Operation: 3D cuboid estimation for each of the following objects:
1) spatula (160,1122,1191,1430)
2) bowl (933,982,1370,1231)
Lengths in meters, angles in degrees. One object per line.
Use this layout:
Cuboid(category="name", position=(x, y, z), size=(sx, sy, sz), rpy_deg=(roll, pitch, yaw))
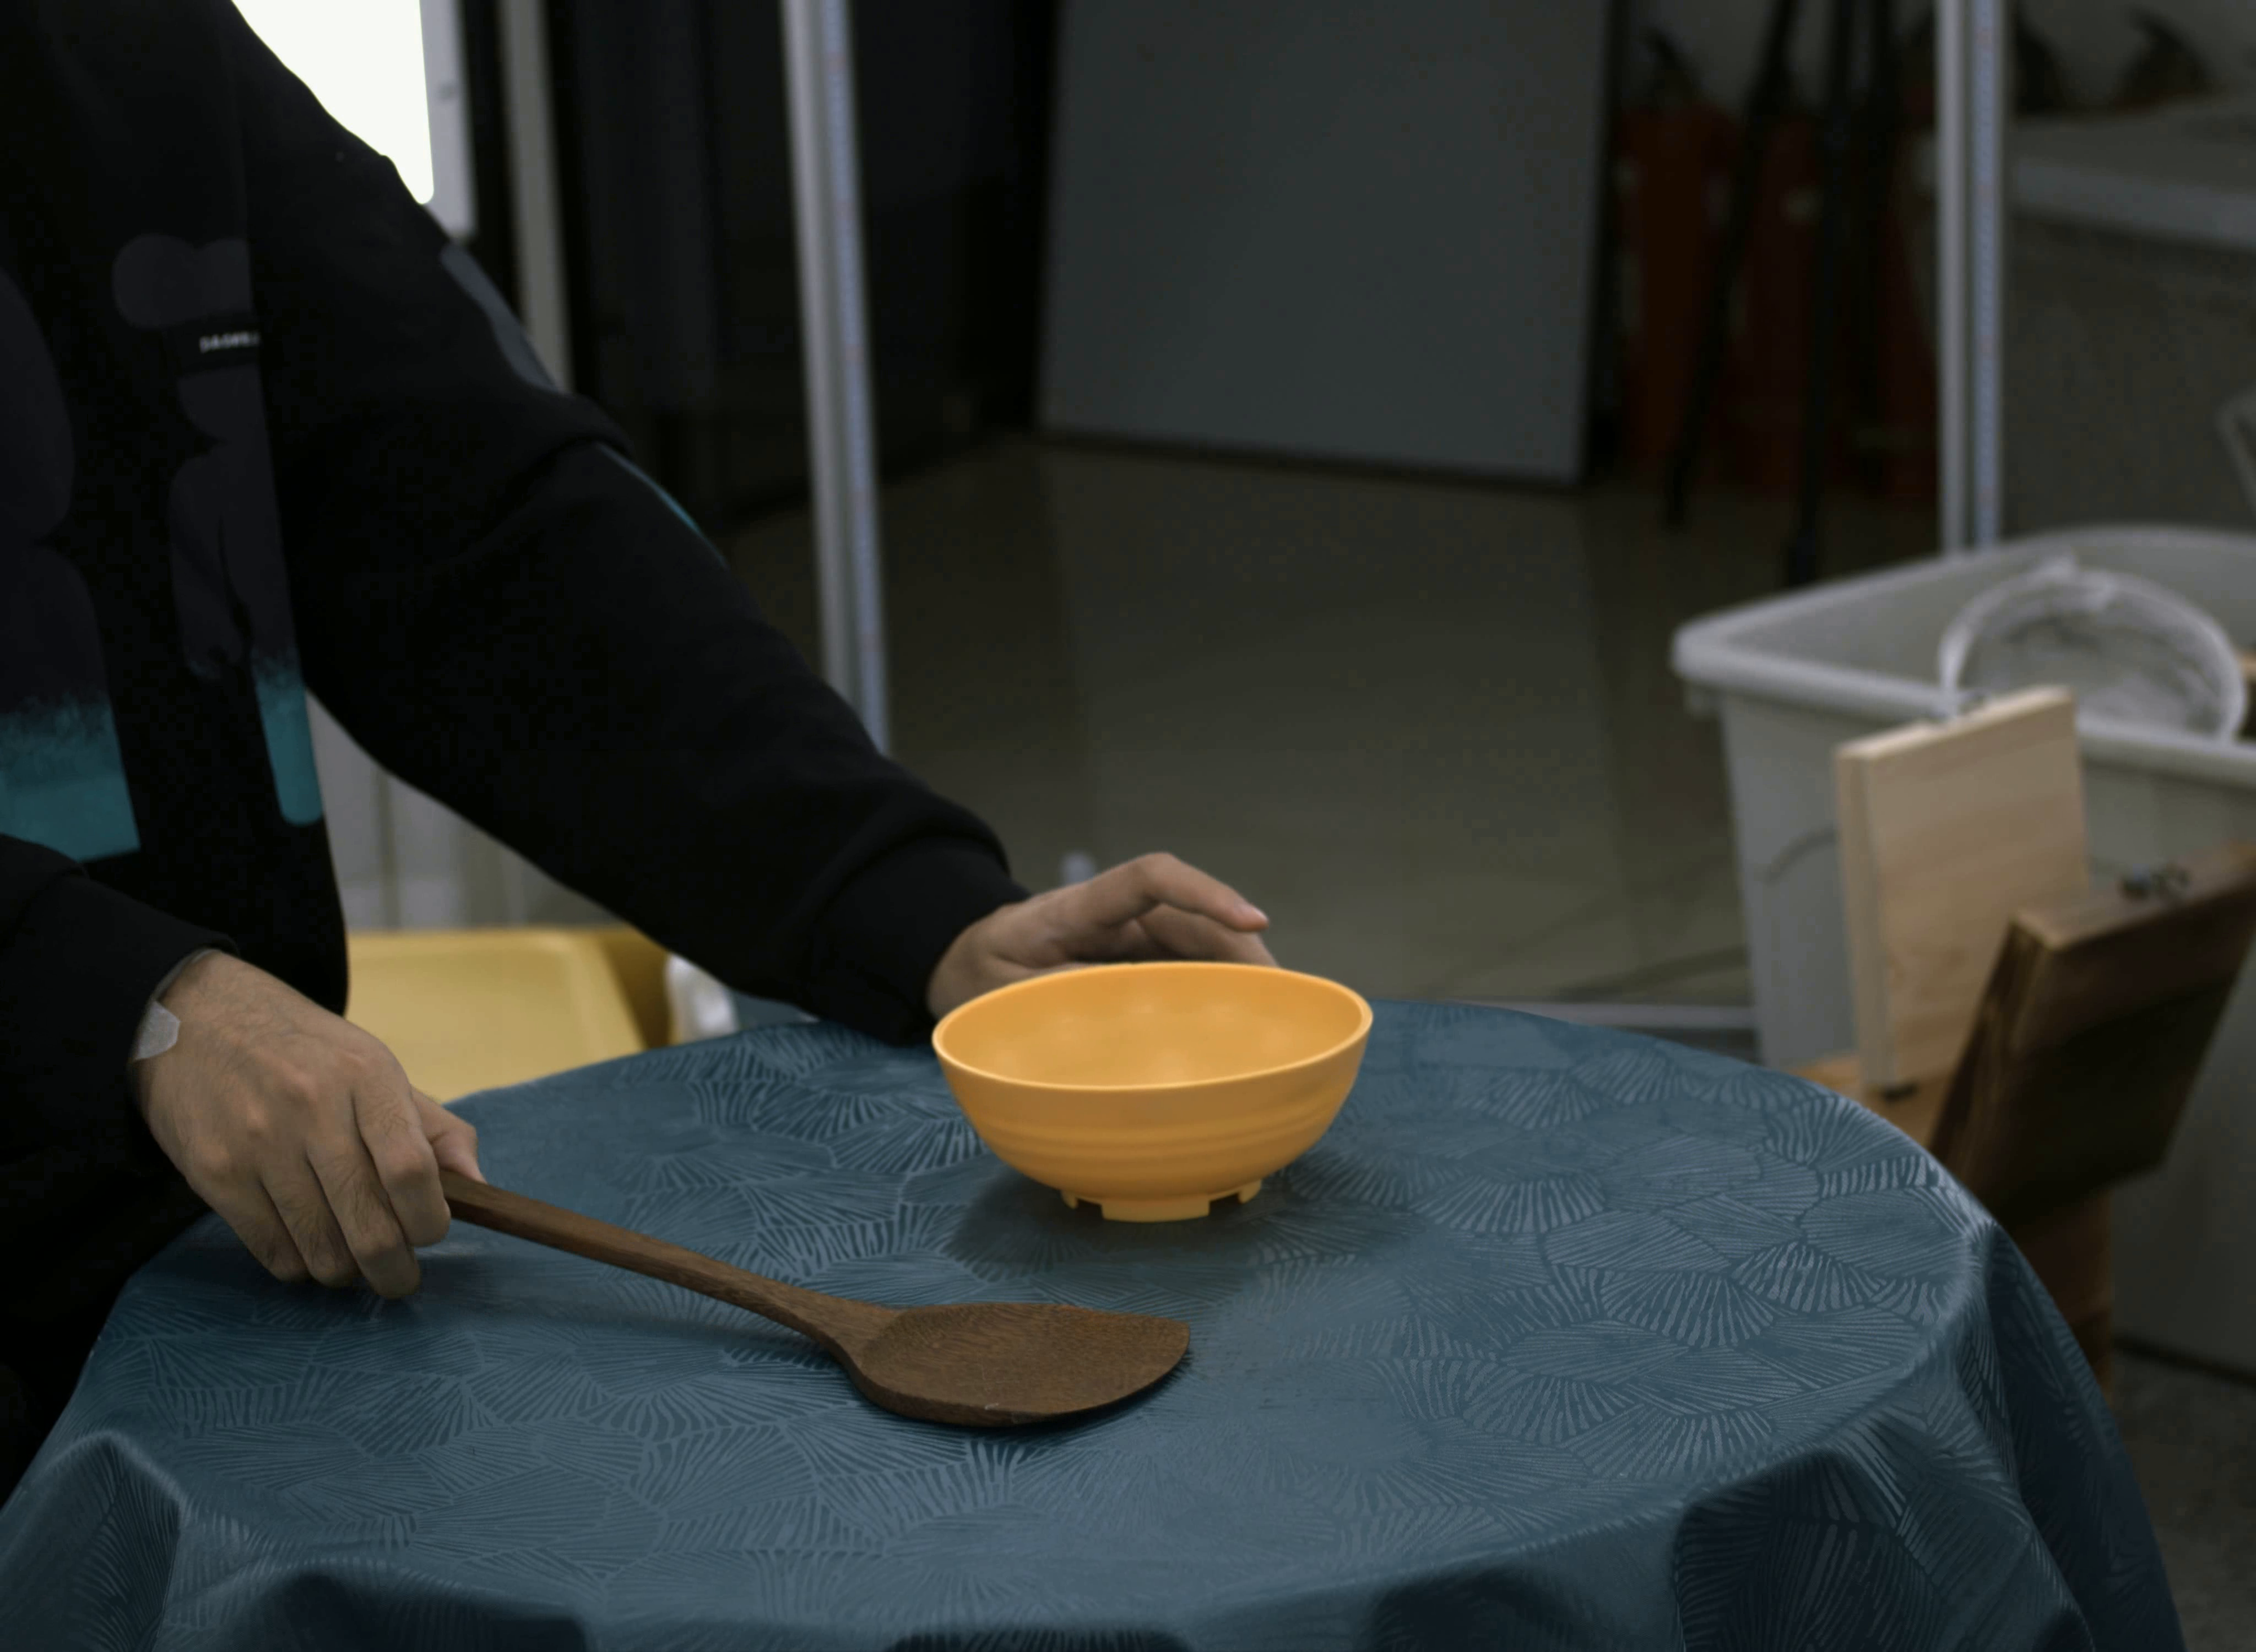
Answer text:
Cuboid(category="spatula", position=(-0.155, 0.135, 1.680), size=(0.388, 0.016, 0.094), rpy_deg=(12, 20, 32))
Cuboid(category="bowl", position=(0.009, 0.095, 1.761), size=(0.143, 0.061, 0.145), rpy_deg=(-3, 11, 0))
